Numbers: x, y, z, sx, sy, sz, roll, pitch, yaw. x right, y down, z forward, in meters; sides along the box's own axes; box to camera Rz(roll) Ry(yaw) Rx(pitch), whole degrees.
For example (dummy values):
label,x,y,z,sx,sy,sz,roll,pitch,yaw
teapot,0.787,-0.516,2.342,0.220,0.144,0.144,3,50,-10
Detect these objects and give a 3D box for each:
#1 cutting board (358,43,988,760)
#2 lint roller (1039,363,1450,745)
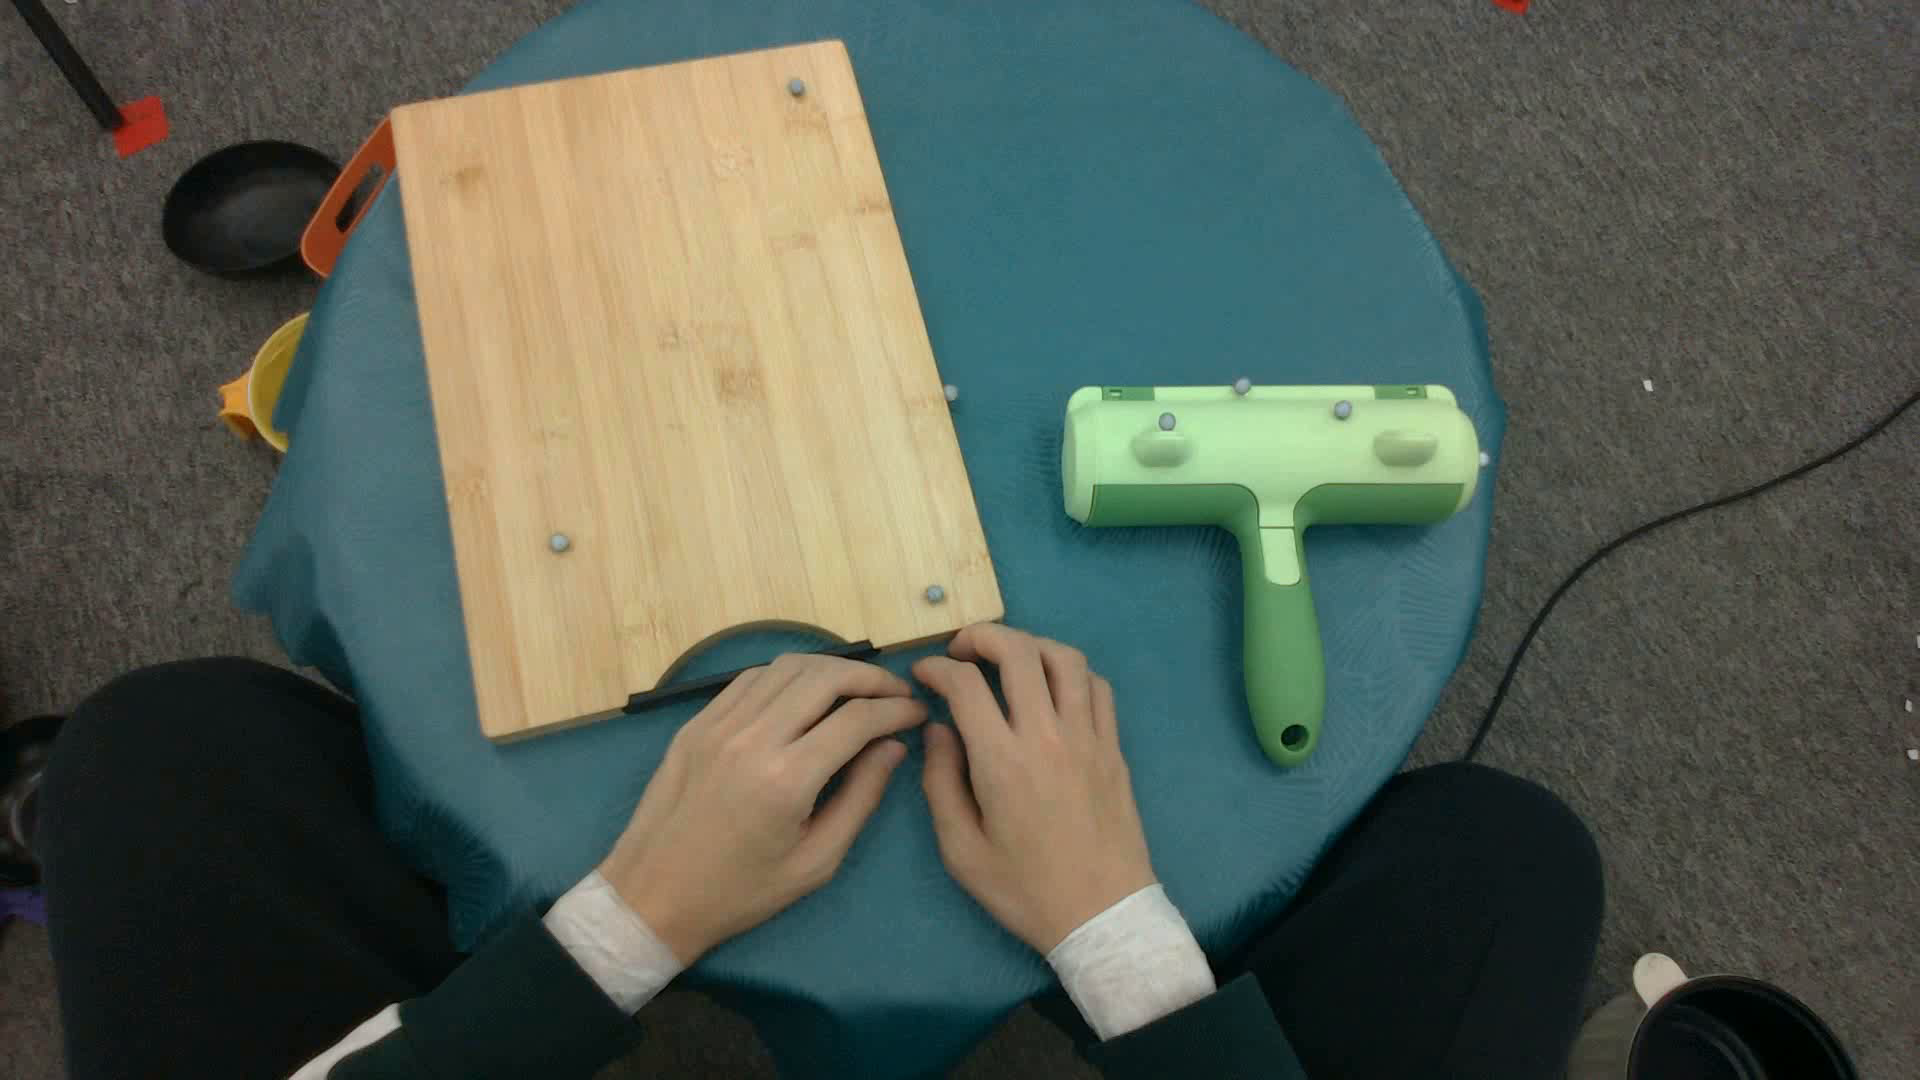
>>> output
label,x,y,z,sx,sy,sz,roll,pitch,yaw
cutting board,-0.149,-0.089,0.684,0.251,0.023,0.349,-15,71,-10
lint roller,0.143,-0.002,0.646,0.199,0.082,0.184,-1,66,-6
